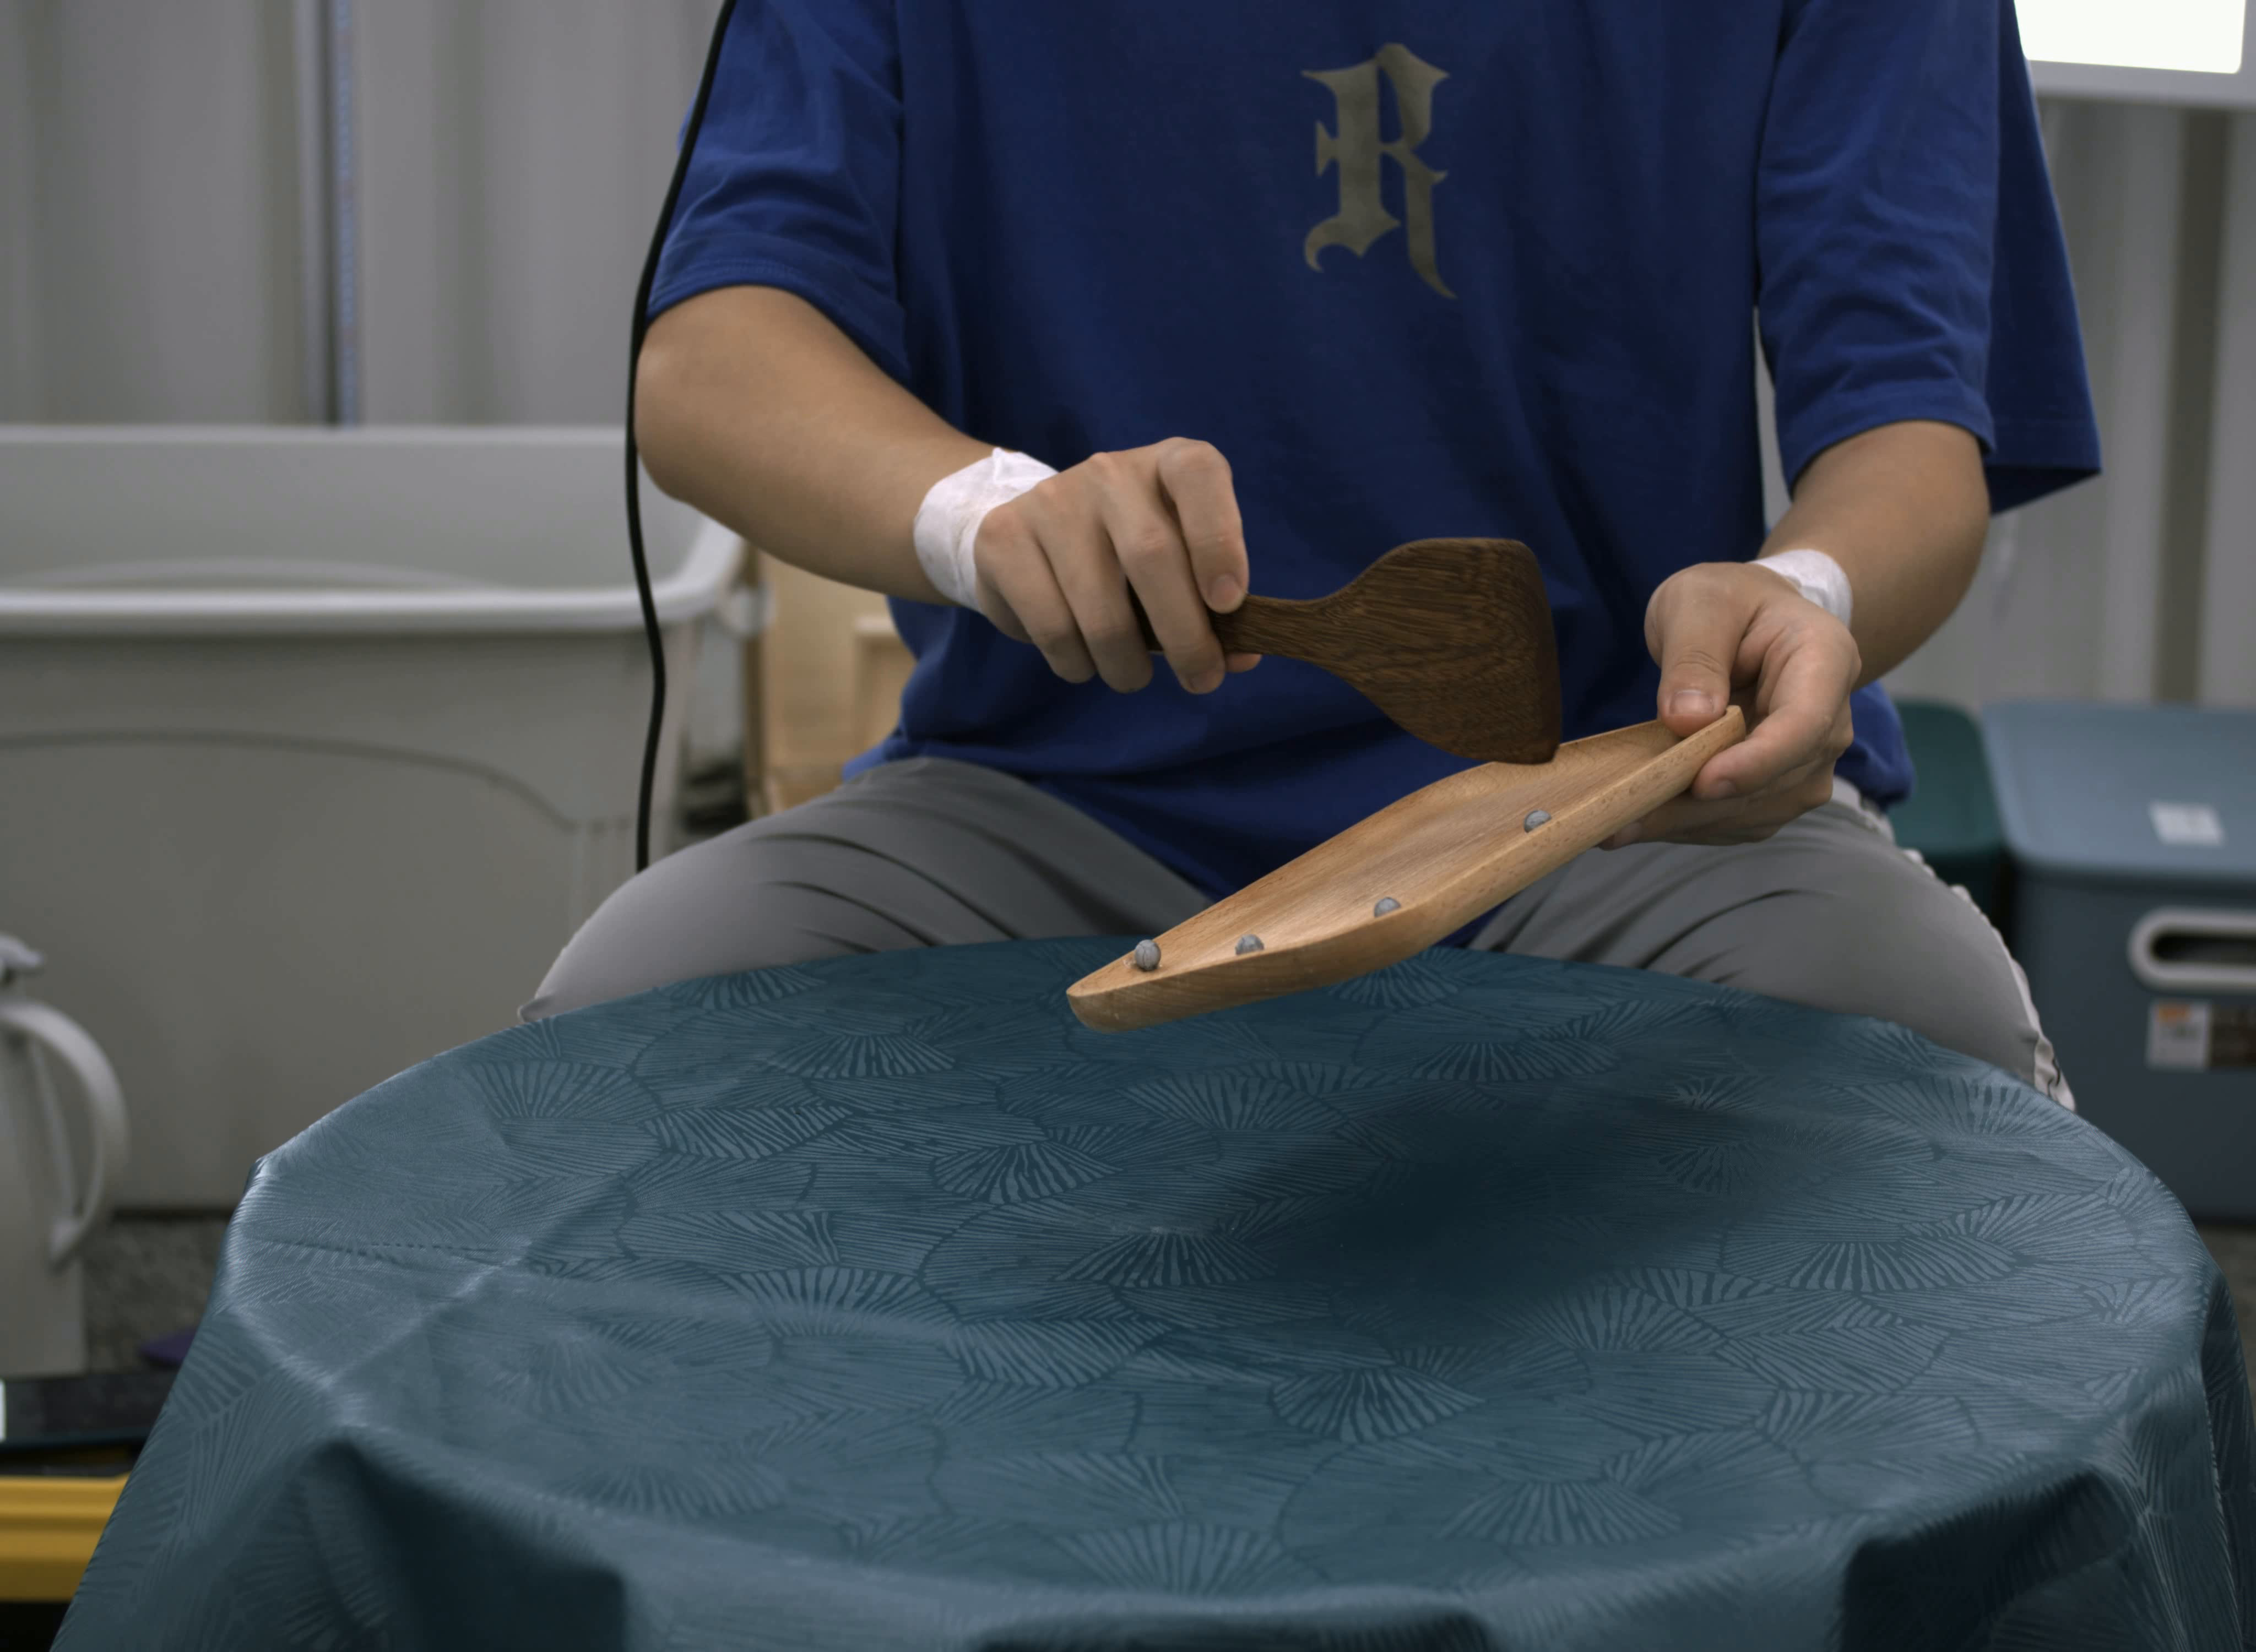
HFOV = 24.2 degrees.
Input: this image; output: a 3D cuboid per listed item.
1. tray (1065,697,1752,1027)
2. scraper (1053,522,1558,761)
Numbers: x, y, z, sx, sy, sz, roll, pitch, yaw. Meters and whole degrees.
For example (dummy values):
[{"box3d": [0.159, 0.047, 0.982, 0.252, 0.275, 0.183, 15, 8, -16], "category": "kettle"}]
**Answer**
[{"box3d": [0.089, 0.010, 1.598, 0.129, 0.023, 0.251, -11, 9, 37], "category": "tray"}, {"box3d": [0.051, -0.063, 1.671, 0.208, 0.076, 0.011, 7, 25, 44], "category": "scraper"}]
